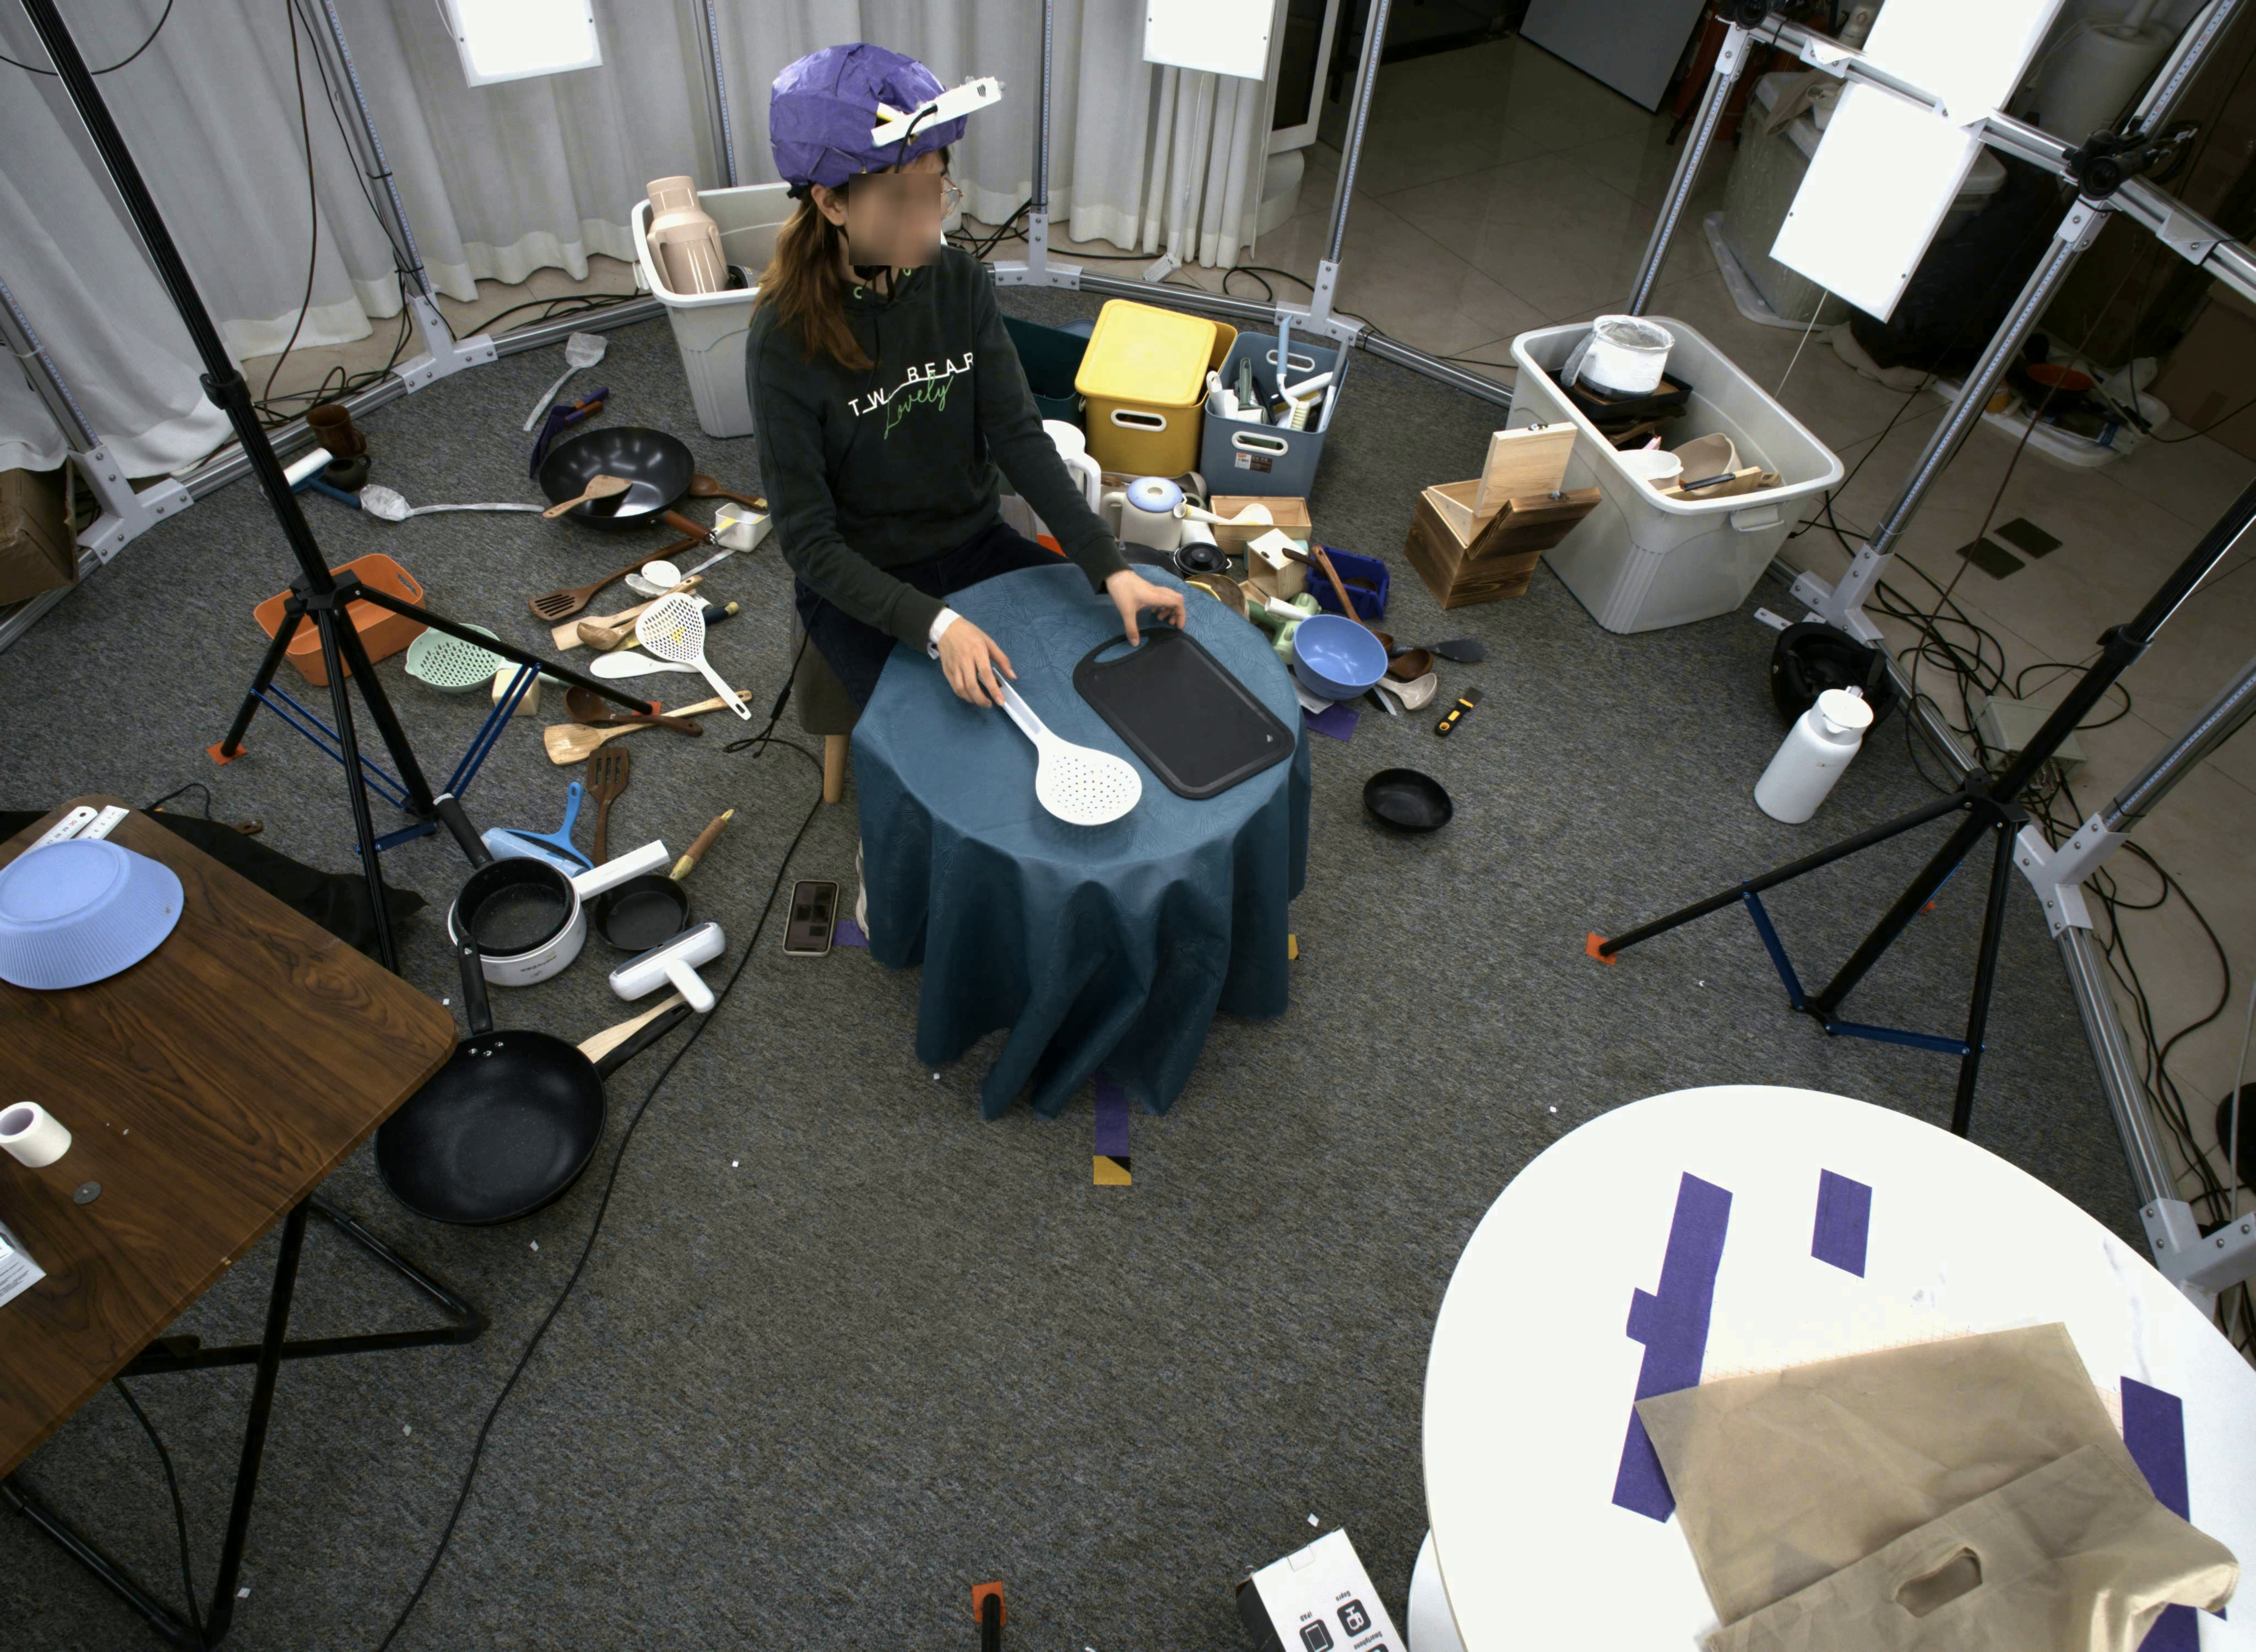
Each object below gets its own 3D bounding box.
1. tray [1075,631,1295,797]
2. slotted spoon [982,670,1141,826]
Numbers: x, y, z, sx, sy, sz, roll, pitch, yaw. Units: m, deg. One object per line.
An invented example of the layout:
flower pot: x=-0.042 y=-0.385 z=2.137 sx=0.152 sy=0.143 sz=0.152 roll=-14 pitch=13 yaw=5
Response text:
tray: x=0.073 y=-0.172 z=1.834 sx=0.212 sy=0.009 sz=0.332 roll=-26 pitch=55 yaw=-24
slotted spoon: x=-0.109 y=-0.112 z=1.744 sx=0.136 sy=0.044 sz=0.357 roll=-21 pitch=53 yaw=-24
